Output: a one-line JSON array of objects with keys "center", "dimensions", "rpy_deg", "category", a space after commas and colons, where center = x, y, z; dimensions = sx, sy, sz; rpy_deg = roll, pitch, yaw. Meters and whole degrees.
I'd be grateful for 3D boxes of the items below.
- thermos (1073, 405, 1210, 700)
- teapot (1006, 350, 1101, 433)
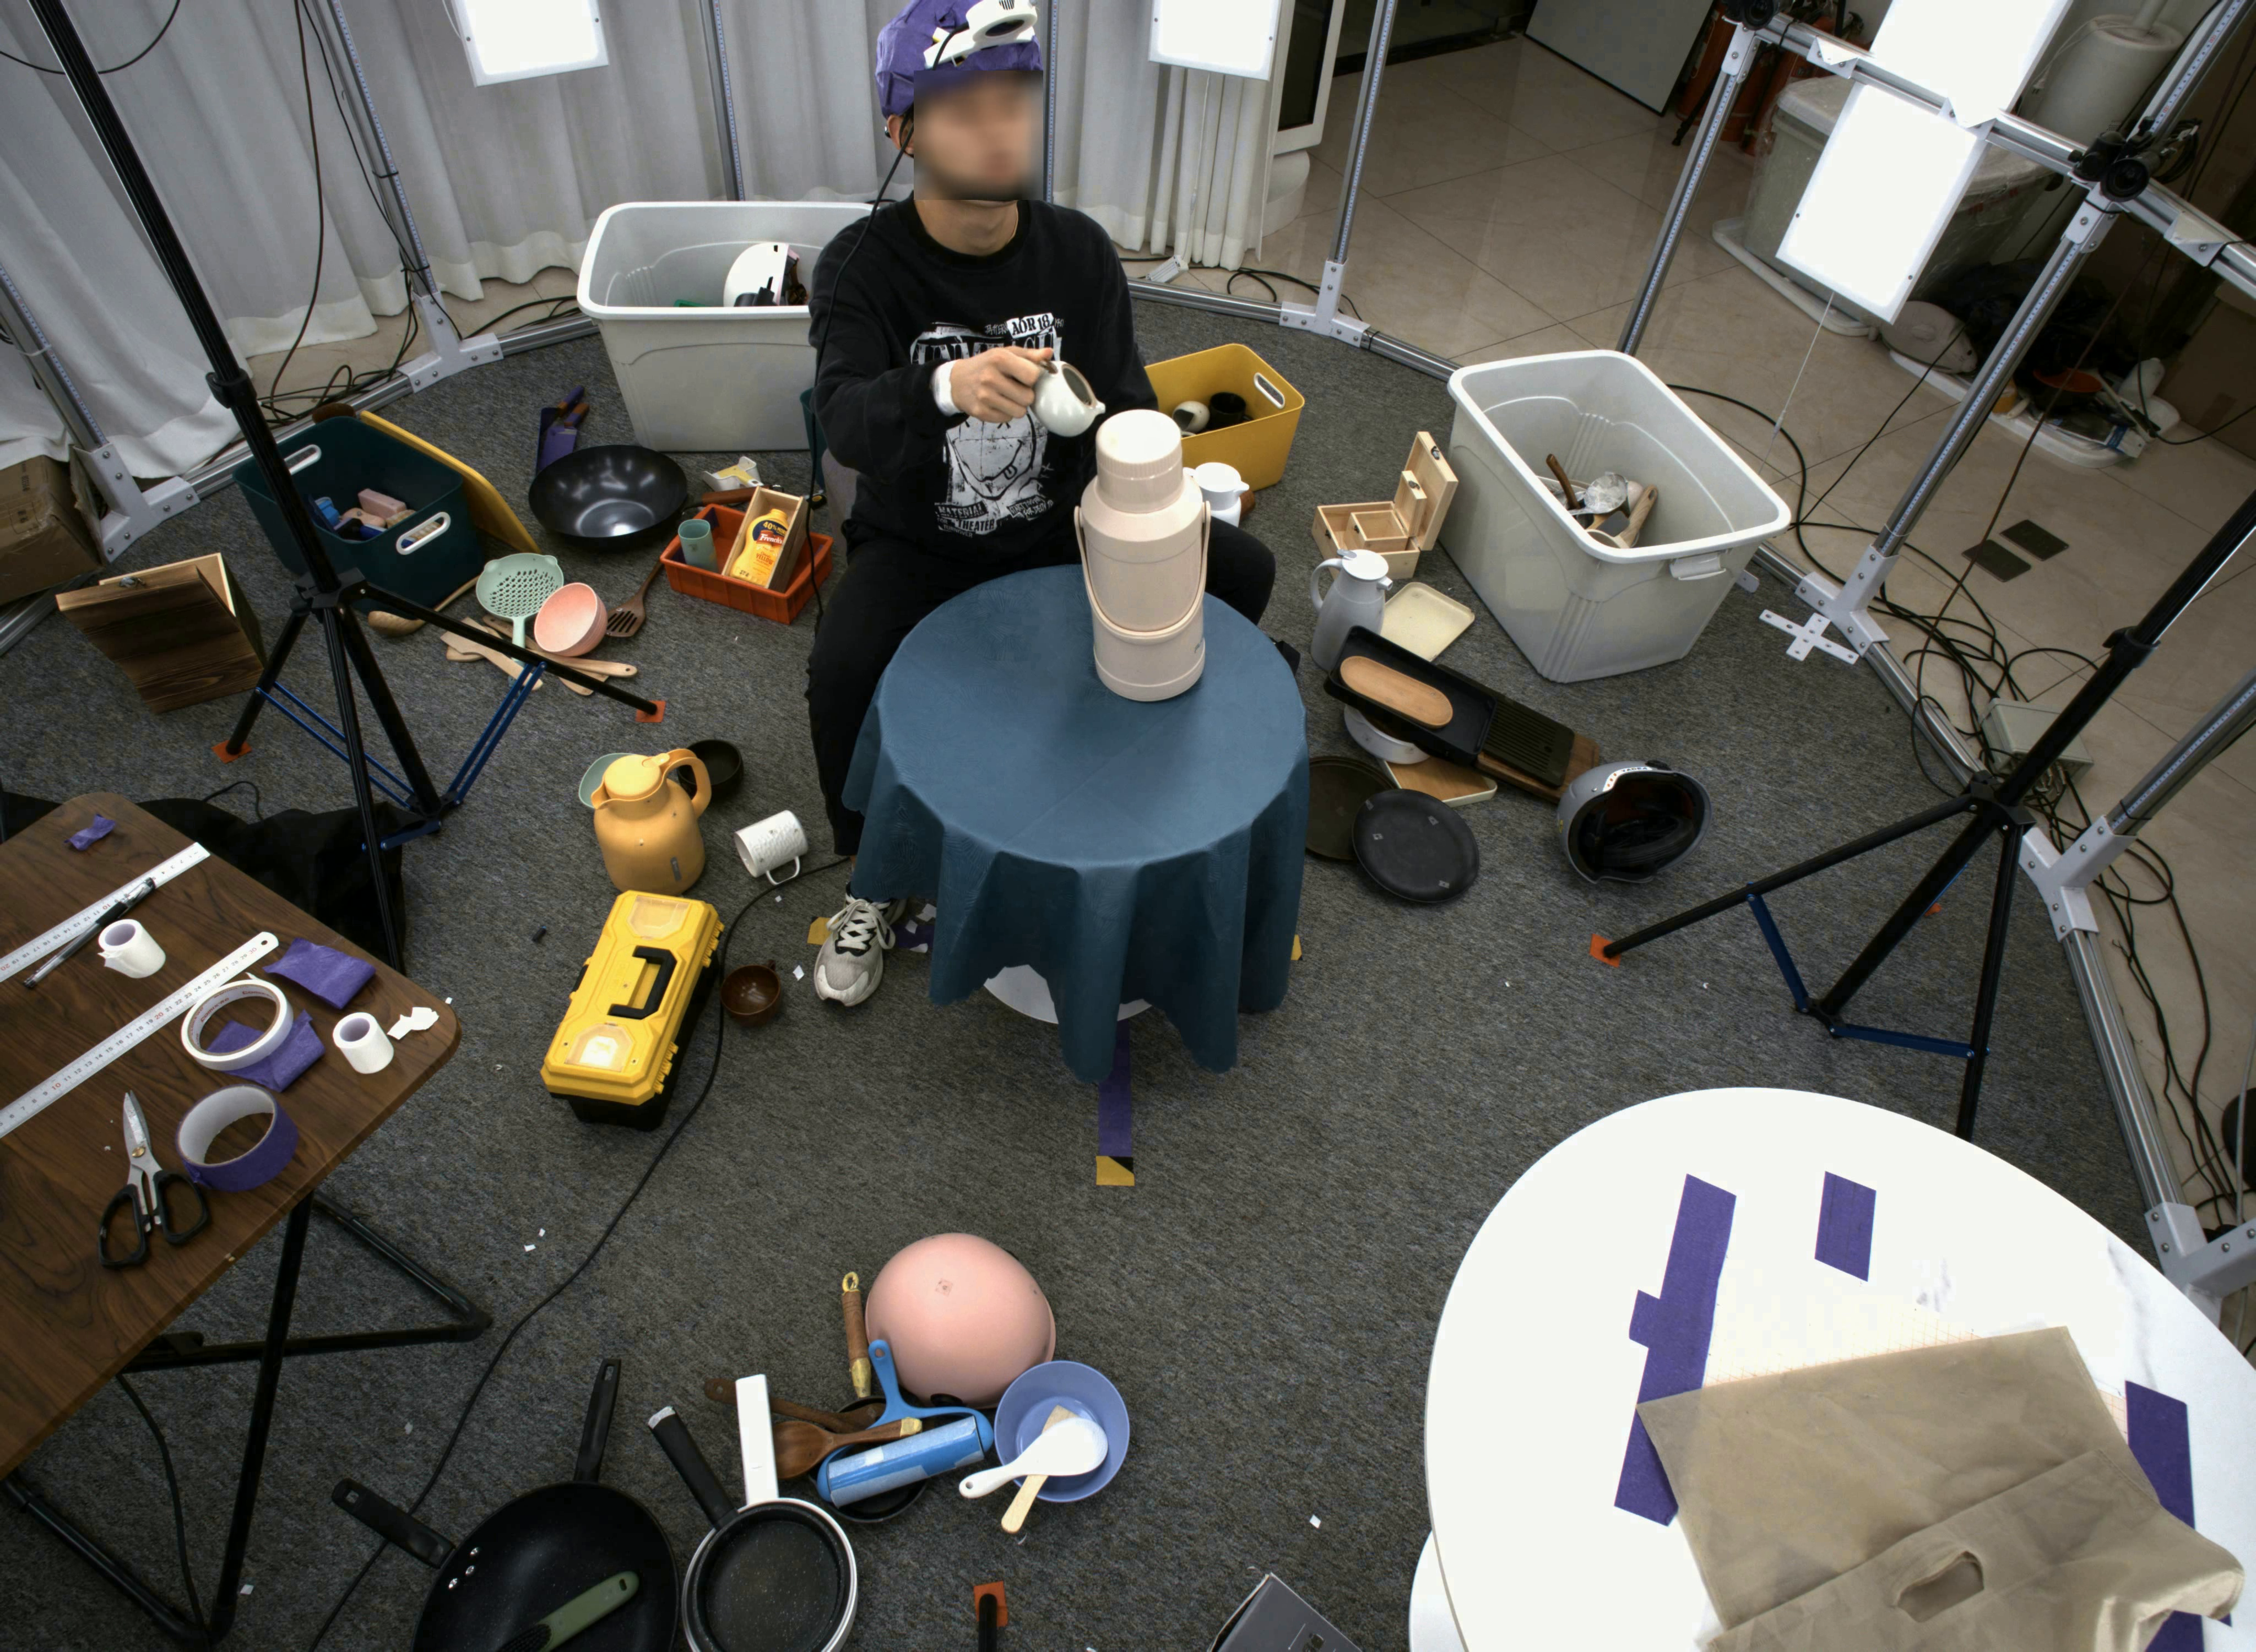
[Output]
[{"center": [0.024, -0.369, 1.724], "dimensions": [0.175, 0.396, 0.212], "rpy_deg": [-4, 53, 3], "category": "thermos"}, {"center": [-0.088, -0.508, 1.510], "dimensions": [0.059, 0.126, 0.094], "rpy_deg": [-27, 60, 30], "category": "teapot"}]
